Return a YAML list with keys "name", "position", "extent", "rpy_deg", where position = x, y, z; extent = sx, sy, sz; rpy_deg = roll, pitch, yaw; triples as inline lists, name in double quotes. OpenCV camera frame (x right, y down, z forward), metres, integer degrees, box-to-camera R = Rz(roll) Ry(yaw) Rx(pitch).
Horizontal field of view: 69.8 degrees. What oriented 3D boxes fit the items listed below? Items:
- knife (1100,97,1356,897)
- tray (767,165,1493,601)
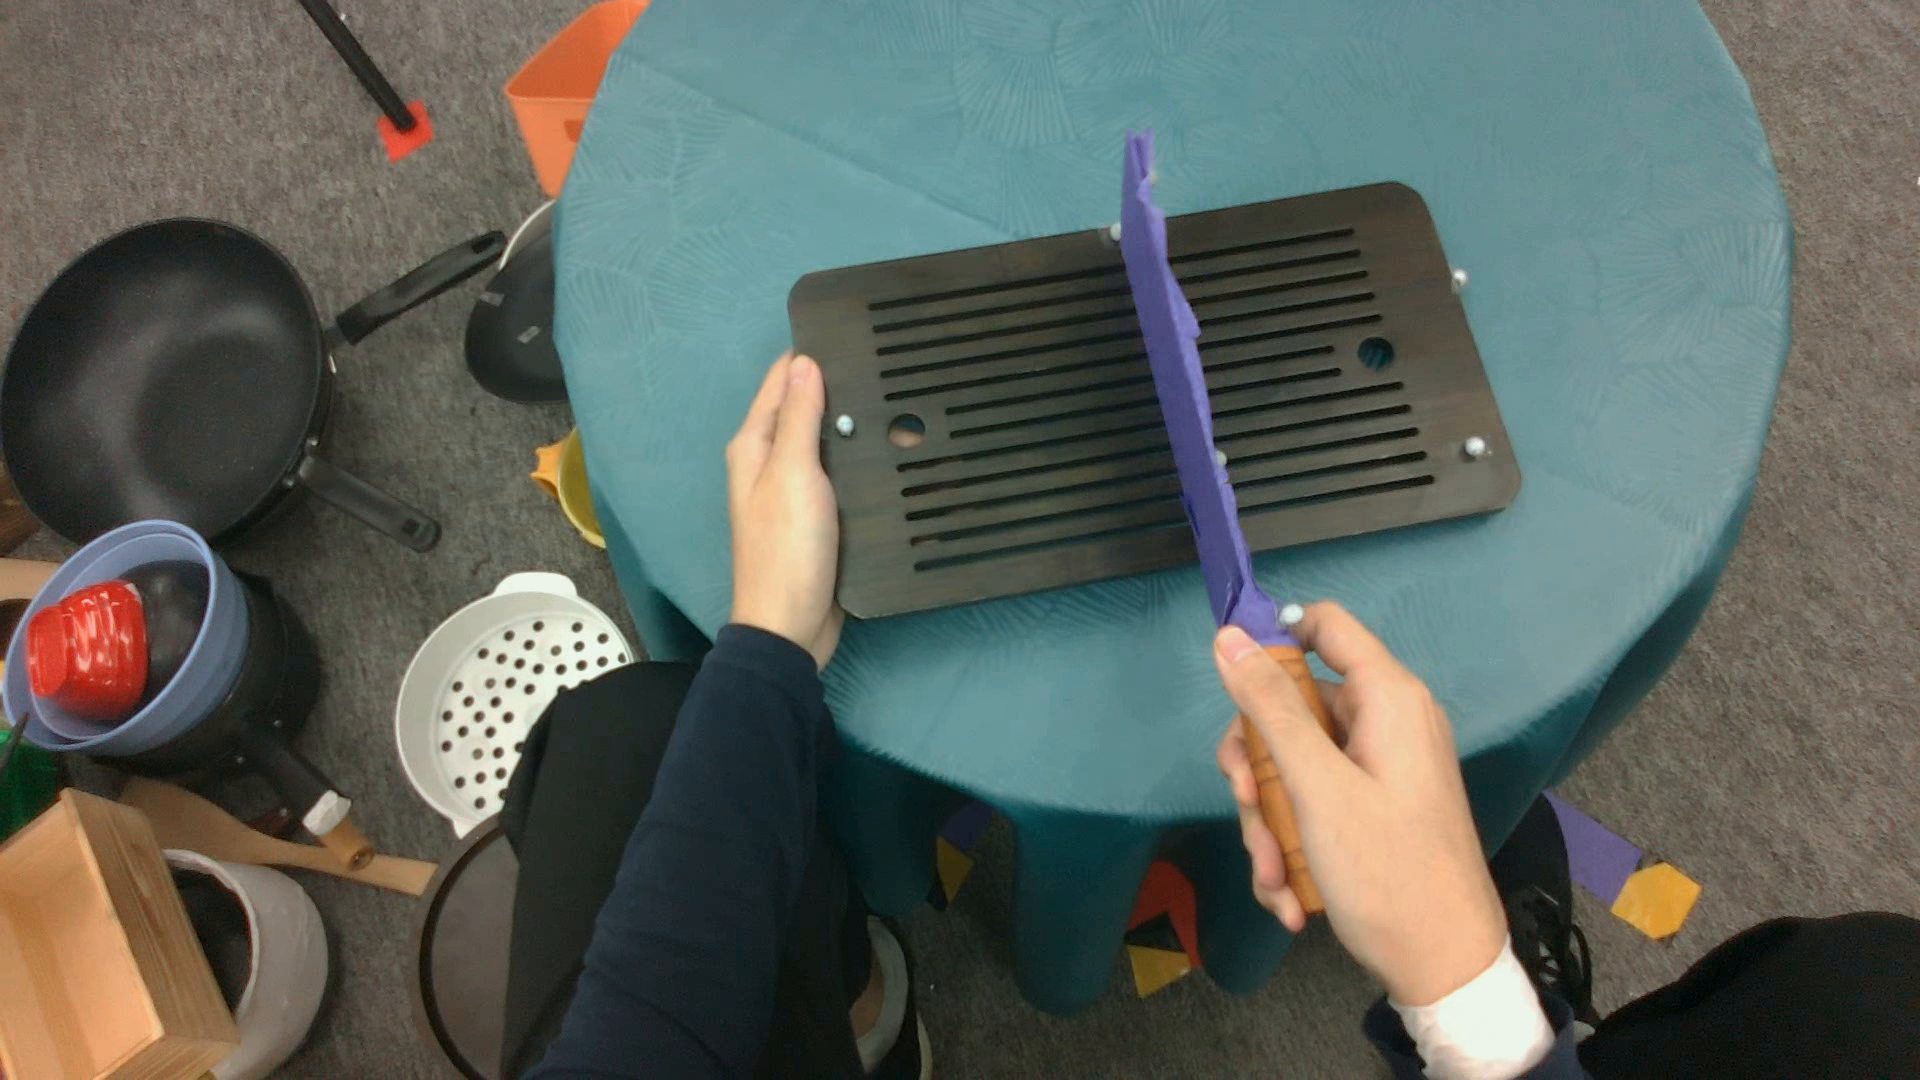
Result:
- name: "knife"
  position: [0.097, -0.019, 0.546]
  extent: [0.032, 0.103, 0.316]
  rpy_deg: [-11, 71, 2]
- name: "tray"
  position: [0.074, -0.076, 0.626]
  extent: [0.306, 0.018, 0.170]
  rpy_deg: [-10, 70, -5]
